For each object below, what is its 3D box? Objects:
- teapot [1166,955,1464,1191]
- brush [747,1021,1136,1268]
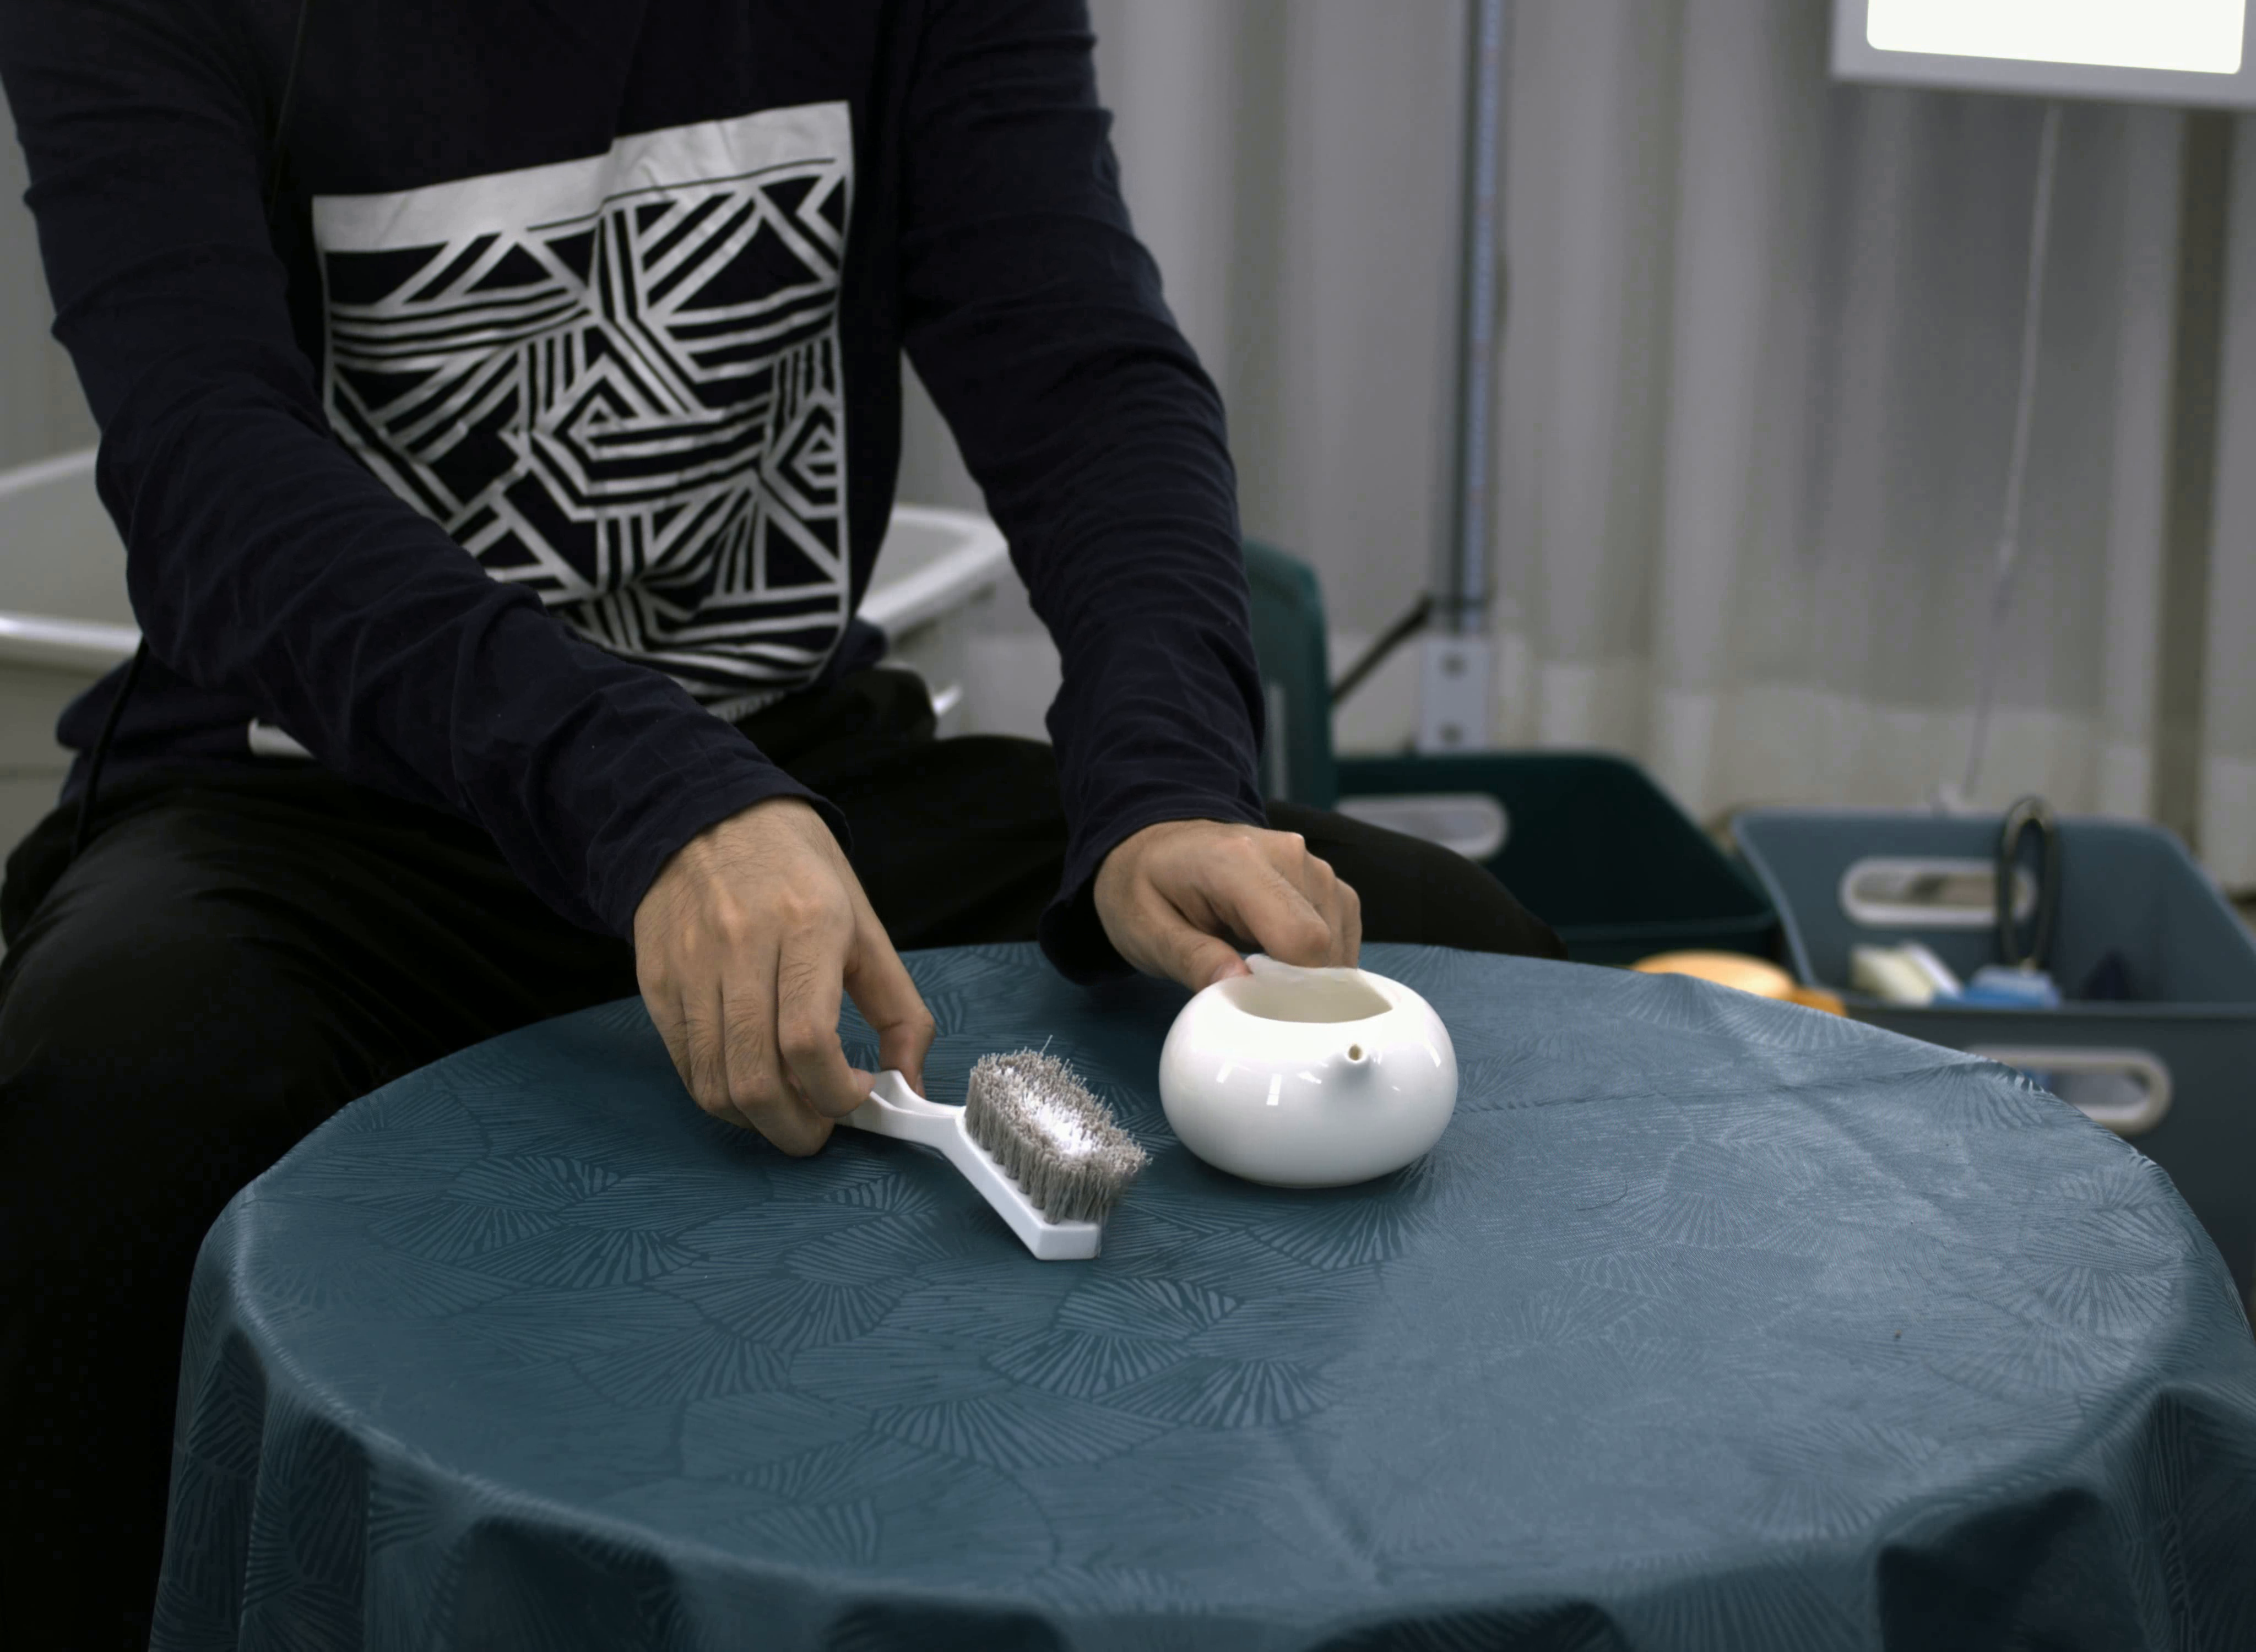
[{"bbox_3d":[0.055,0.077,1.658,0.093,0.057,0.126,-10,16,-18],"label":"teapot"},{"bbox_3d":[-0.065,0.080,1.651,0.034,0.051,0.240,-15,21,-25],"label":"brush"}]
